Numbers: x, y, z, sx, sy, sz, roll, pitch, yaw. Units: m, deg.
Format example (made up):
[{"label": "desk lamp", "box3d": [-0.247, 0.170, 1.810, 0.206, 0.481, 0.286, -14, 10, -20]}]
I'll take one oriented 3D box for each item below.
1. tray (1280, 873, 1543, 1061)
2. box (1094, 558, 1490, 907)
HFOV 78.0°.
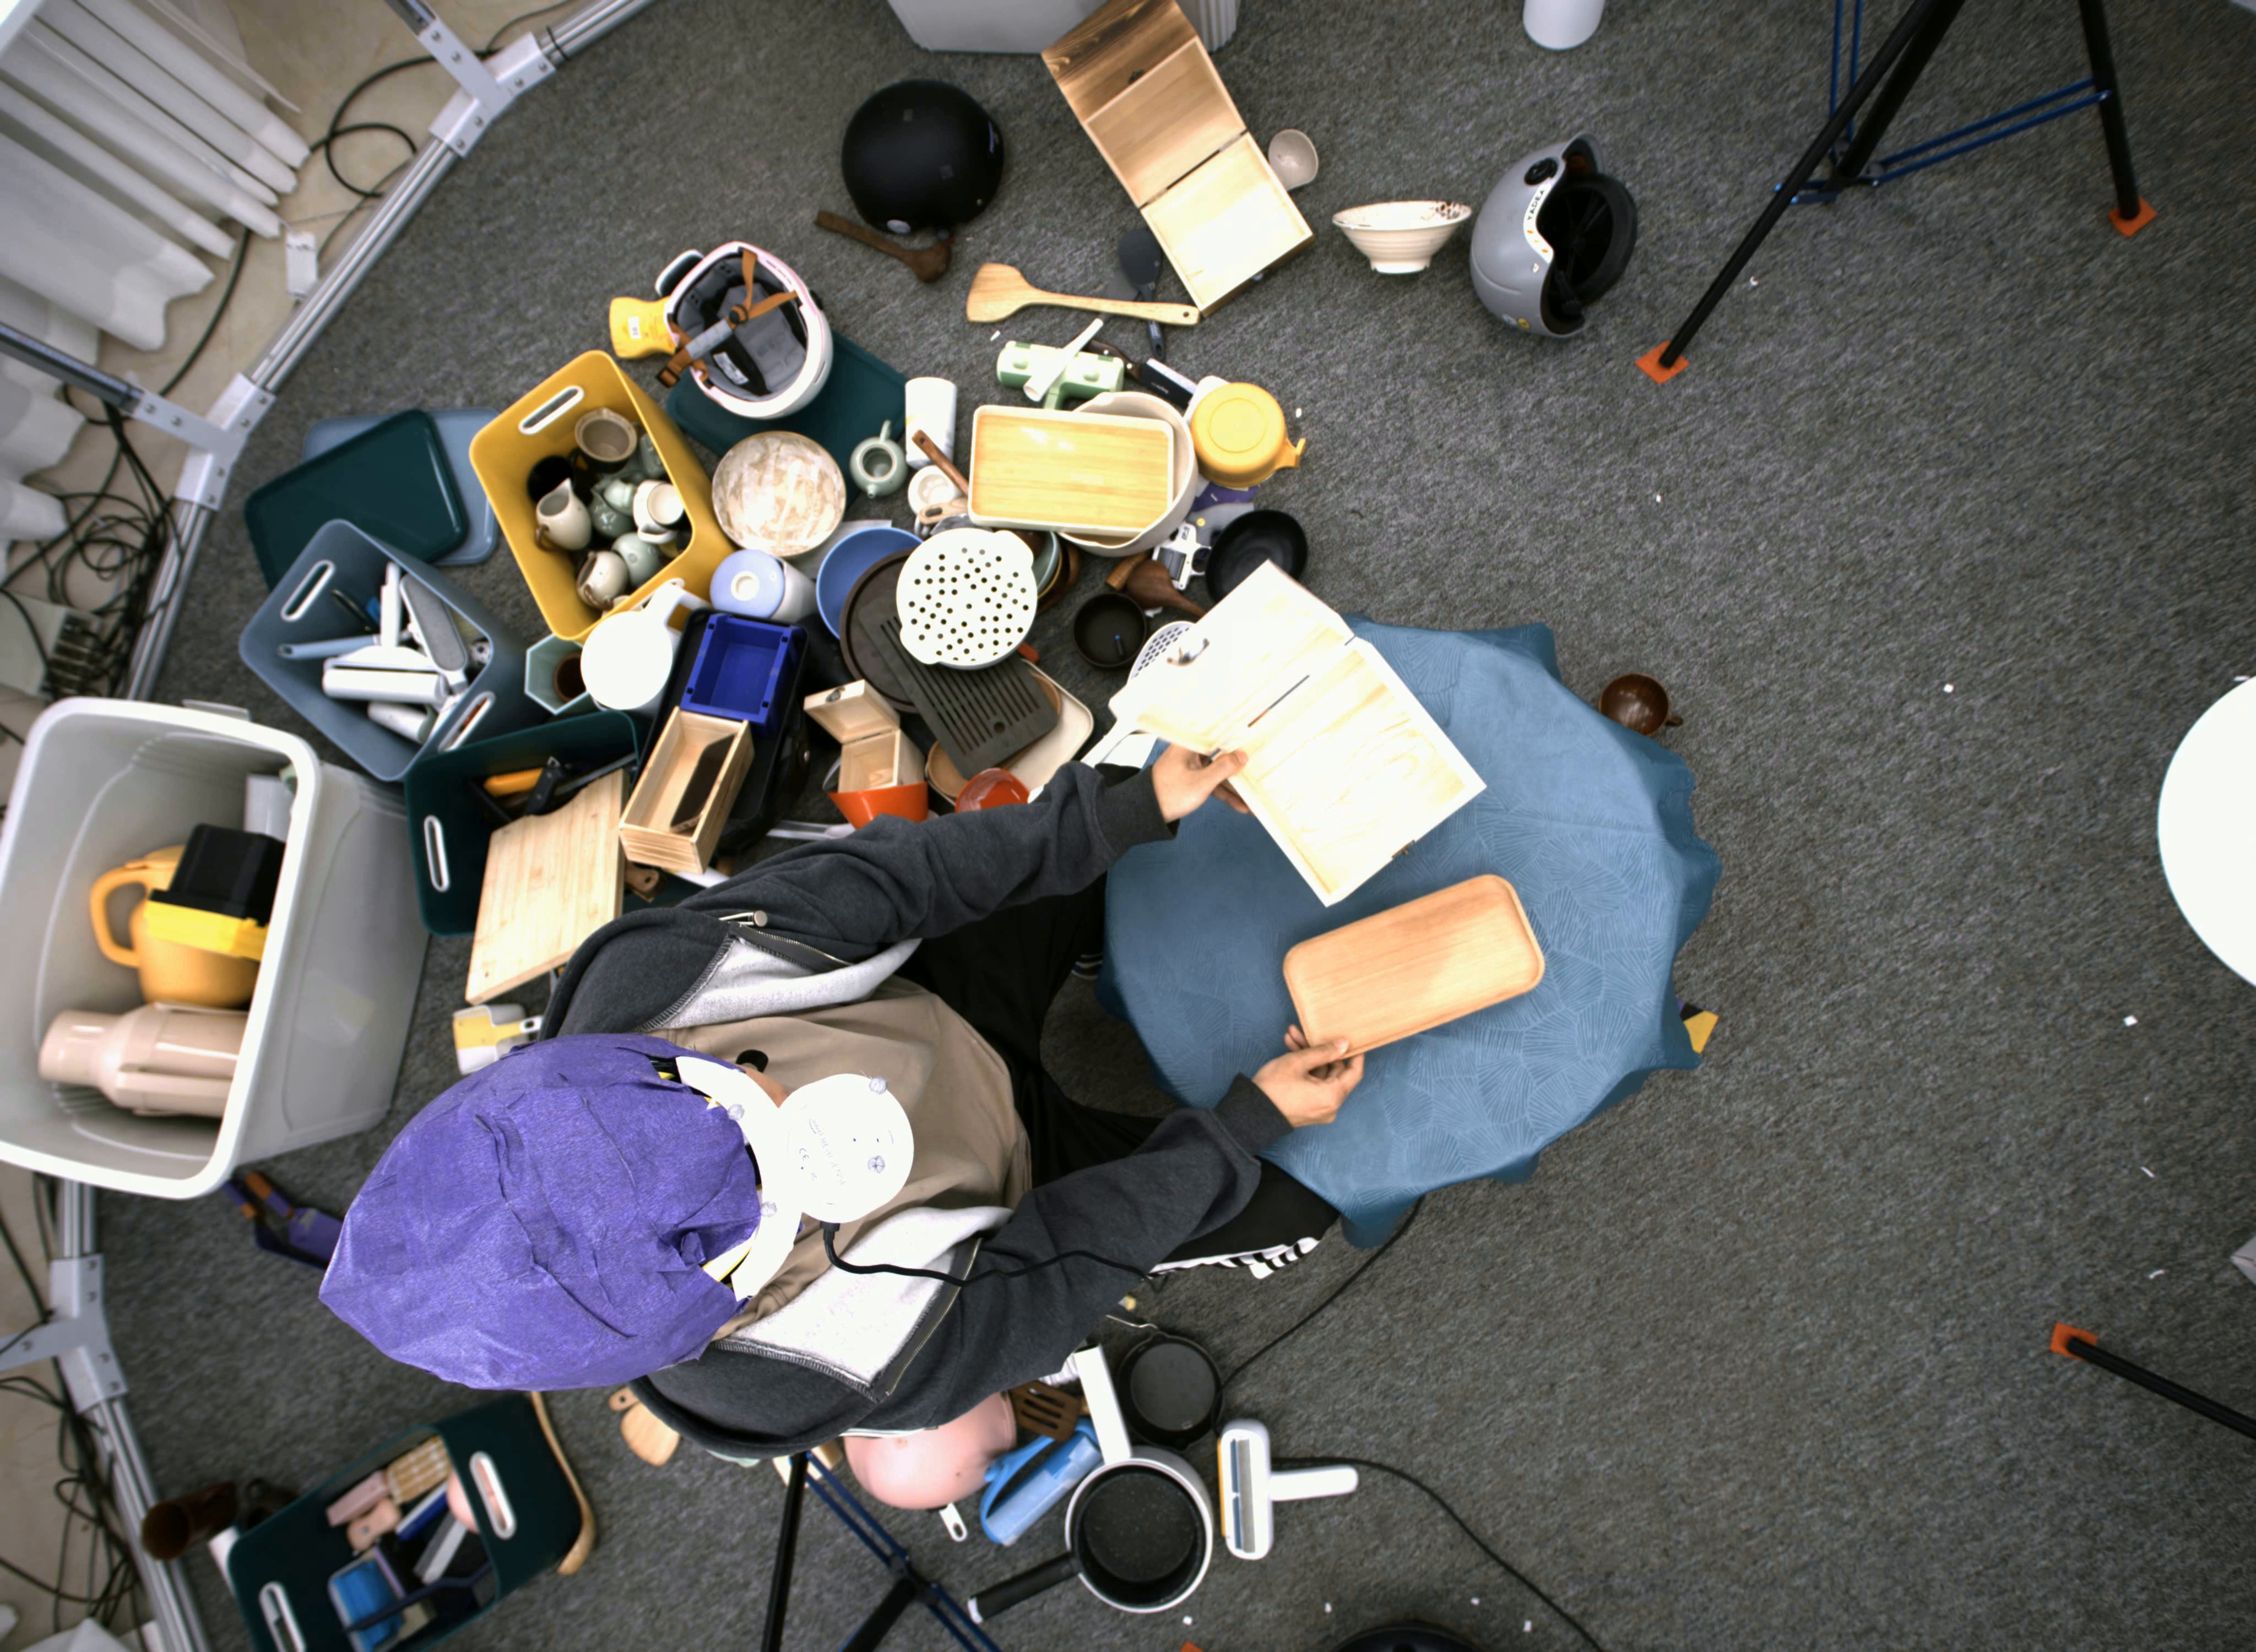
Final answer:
[{"label": "tray", "box3d": [0.286, 0.142, 1.403, 0.252, 0.023, 0.128, -21, 72, 8]}, {"label": "box", "box3d": [0.158, -0.072, 1.241, 0.185, 0.250, 0.263, -41, 79, 22]}]
